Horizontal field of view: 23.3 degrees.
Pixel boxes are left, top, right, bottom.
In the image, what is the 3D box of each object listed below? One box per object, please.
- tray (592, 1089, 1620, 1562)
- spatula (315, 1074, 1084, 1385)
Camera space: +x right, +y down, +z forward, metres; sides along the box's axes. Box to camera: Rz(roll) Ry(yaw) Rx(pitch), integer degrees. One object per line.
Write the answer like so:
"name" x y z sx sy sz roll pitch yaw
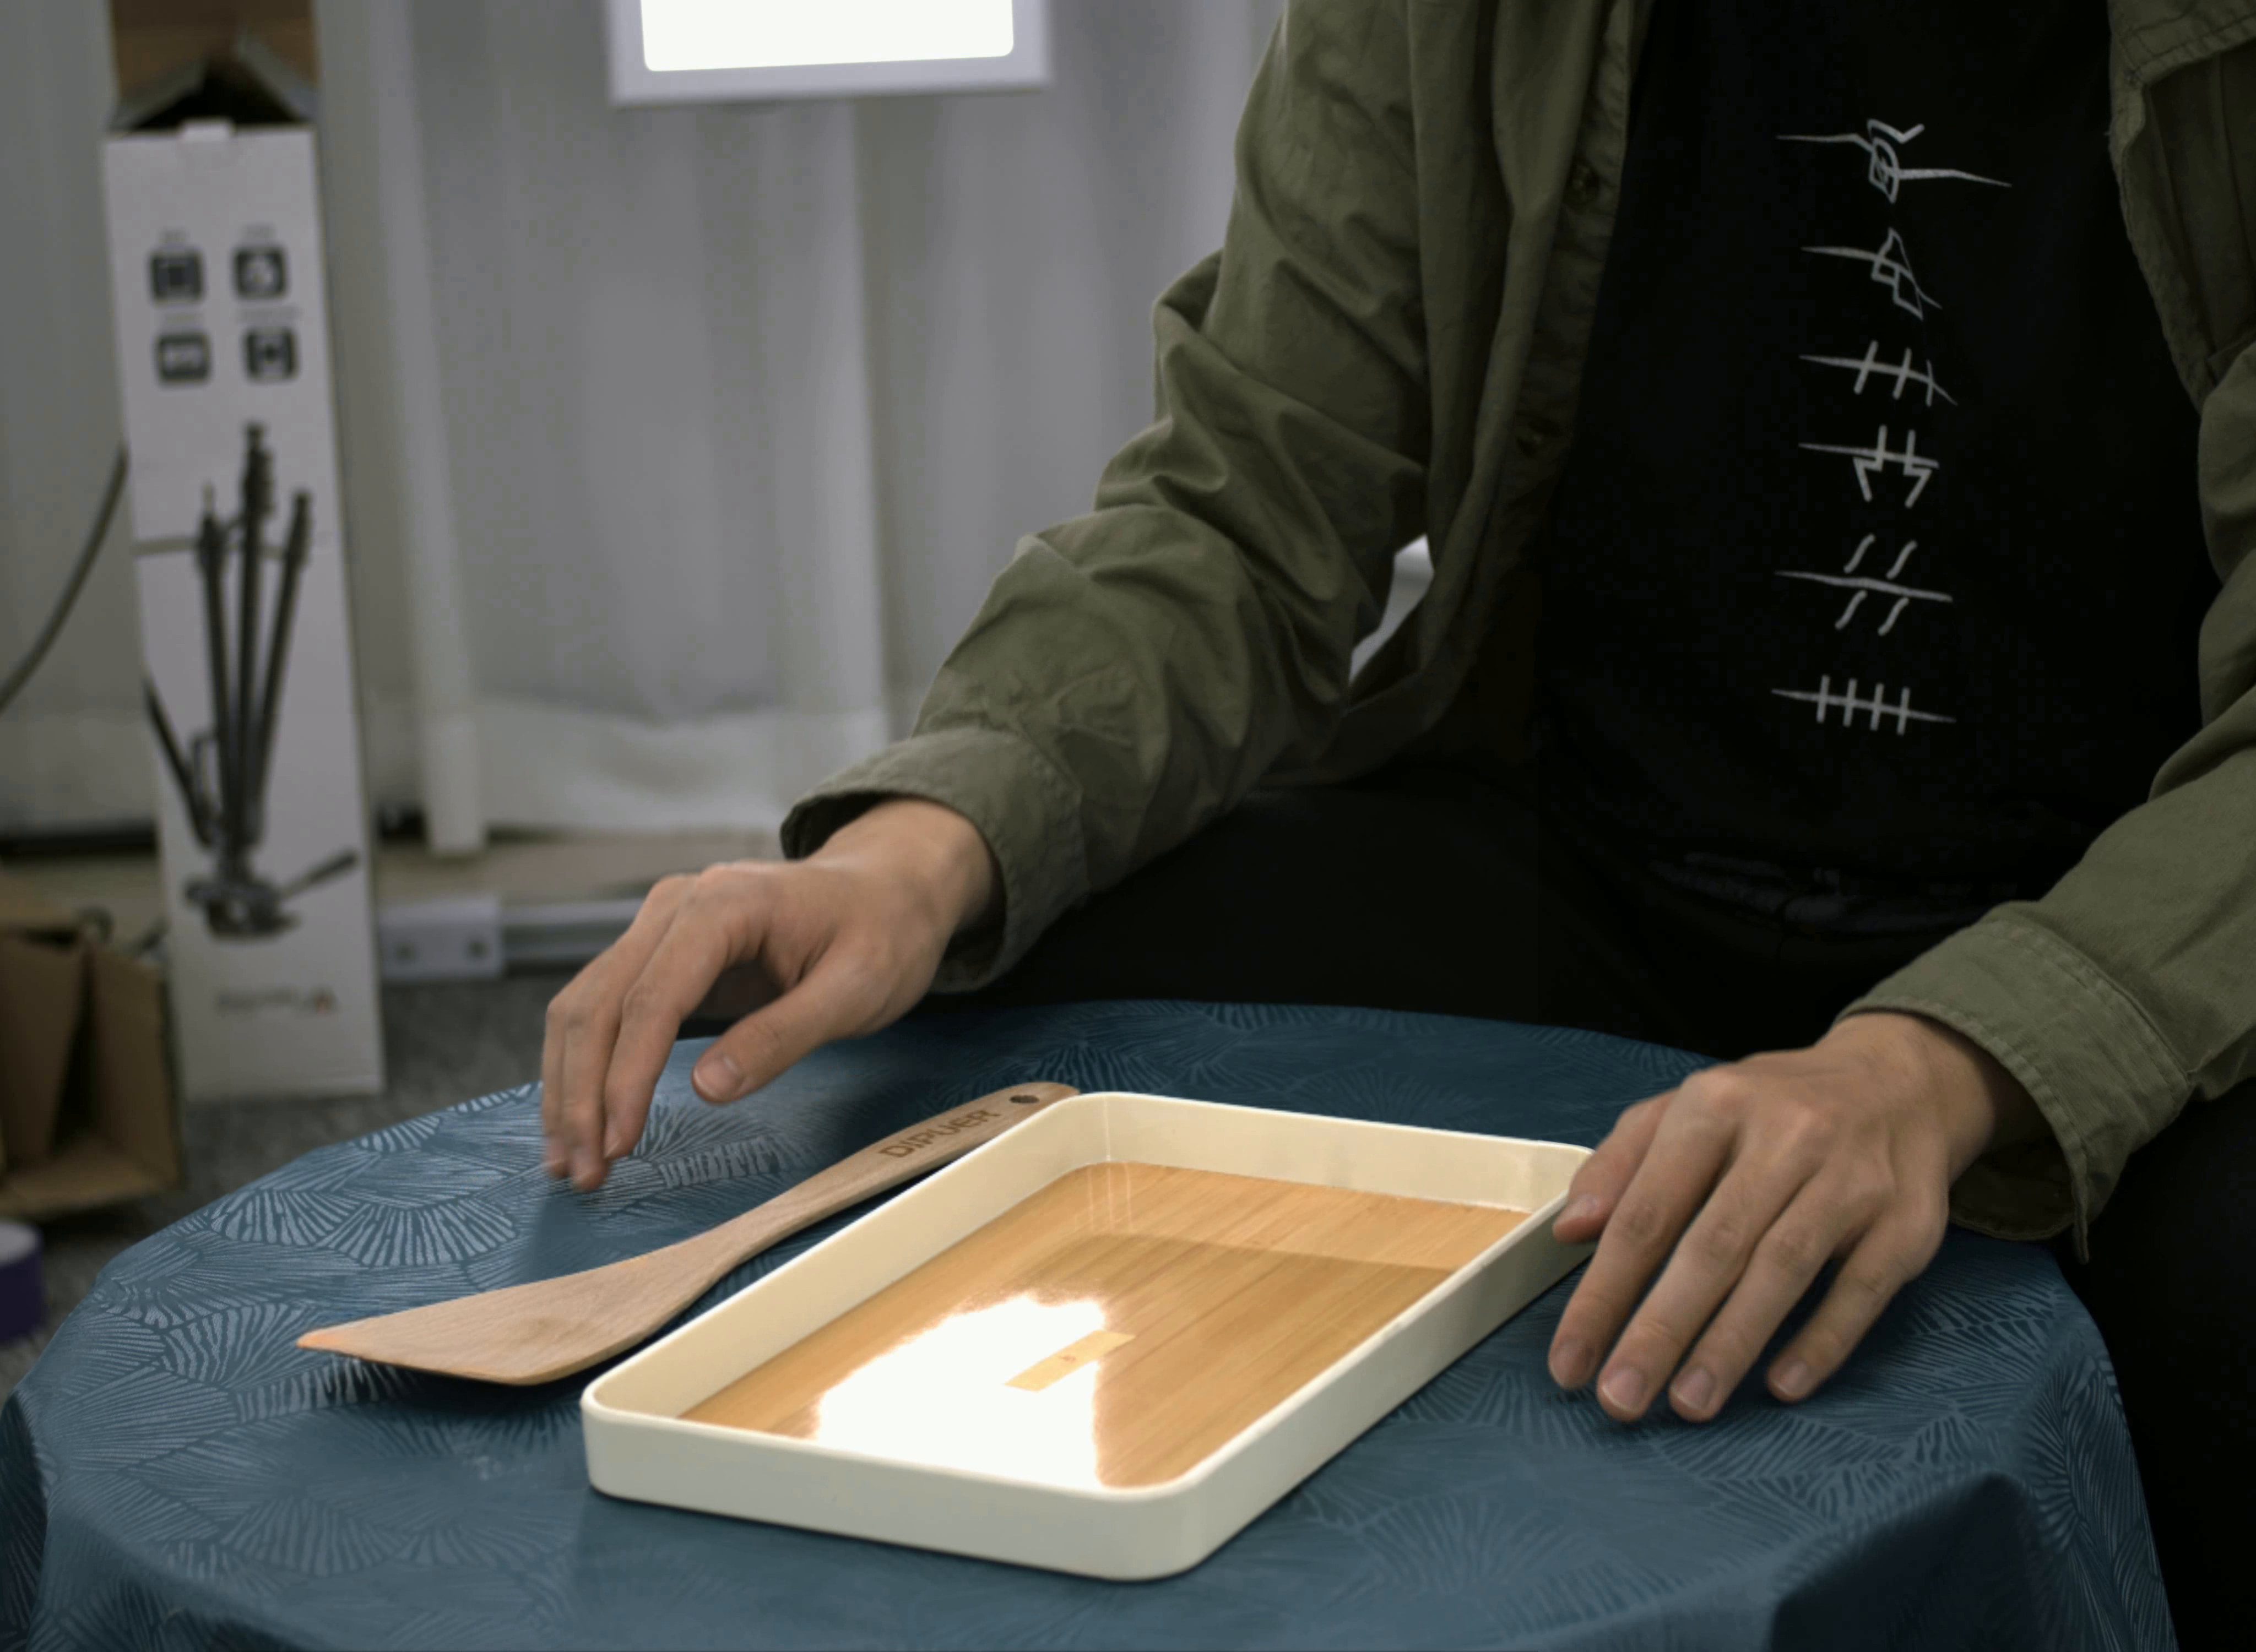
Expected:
"tray" 0.001 0.138 1.574 0.192 0.027 0.300 6 16 29
"spatula" -0.113 0.121 1.685 0.080 0.016 0.327 8 19 34
